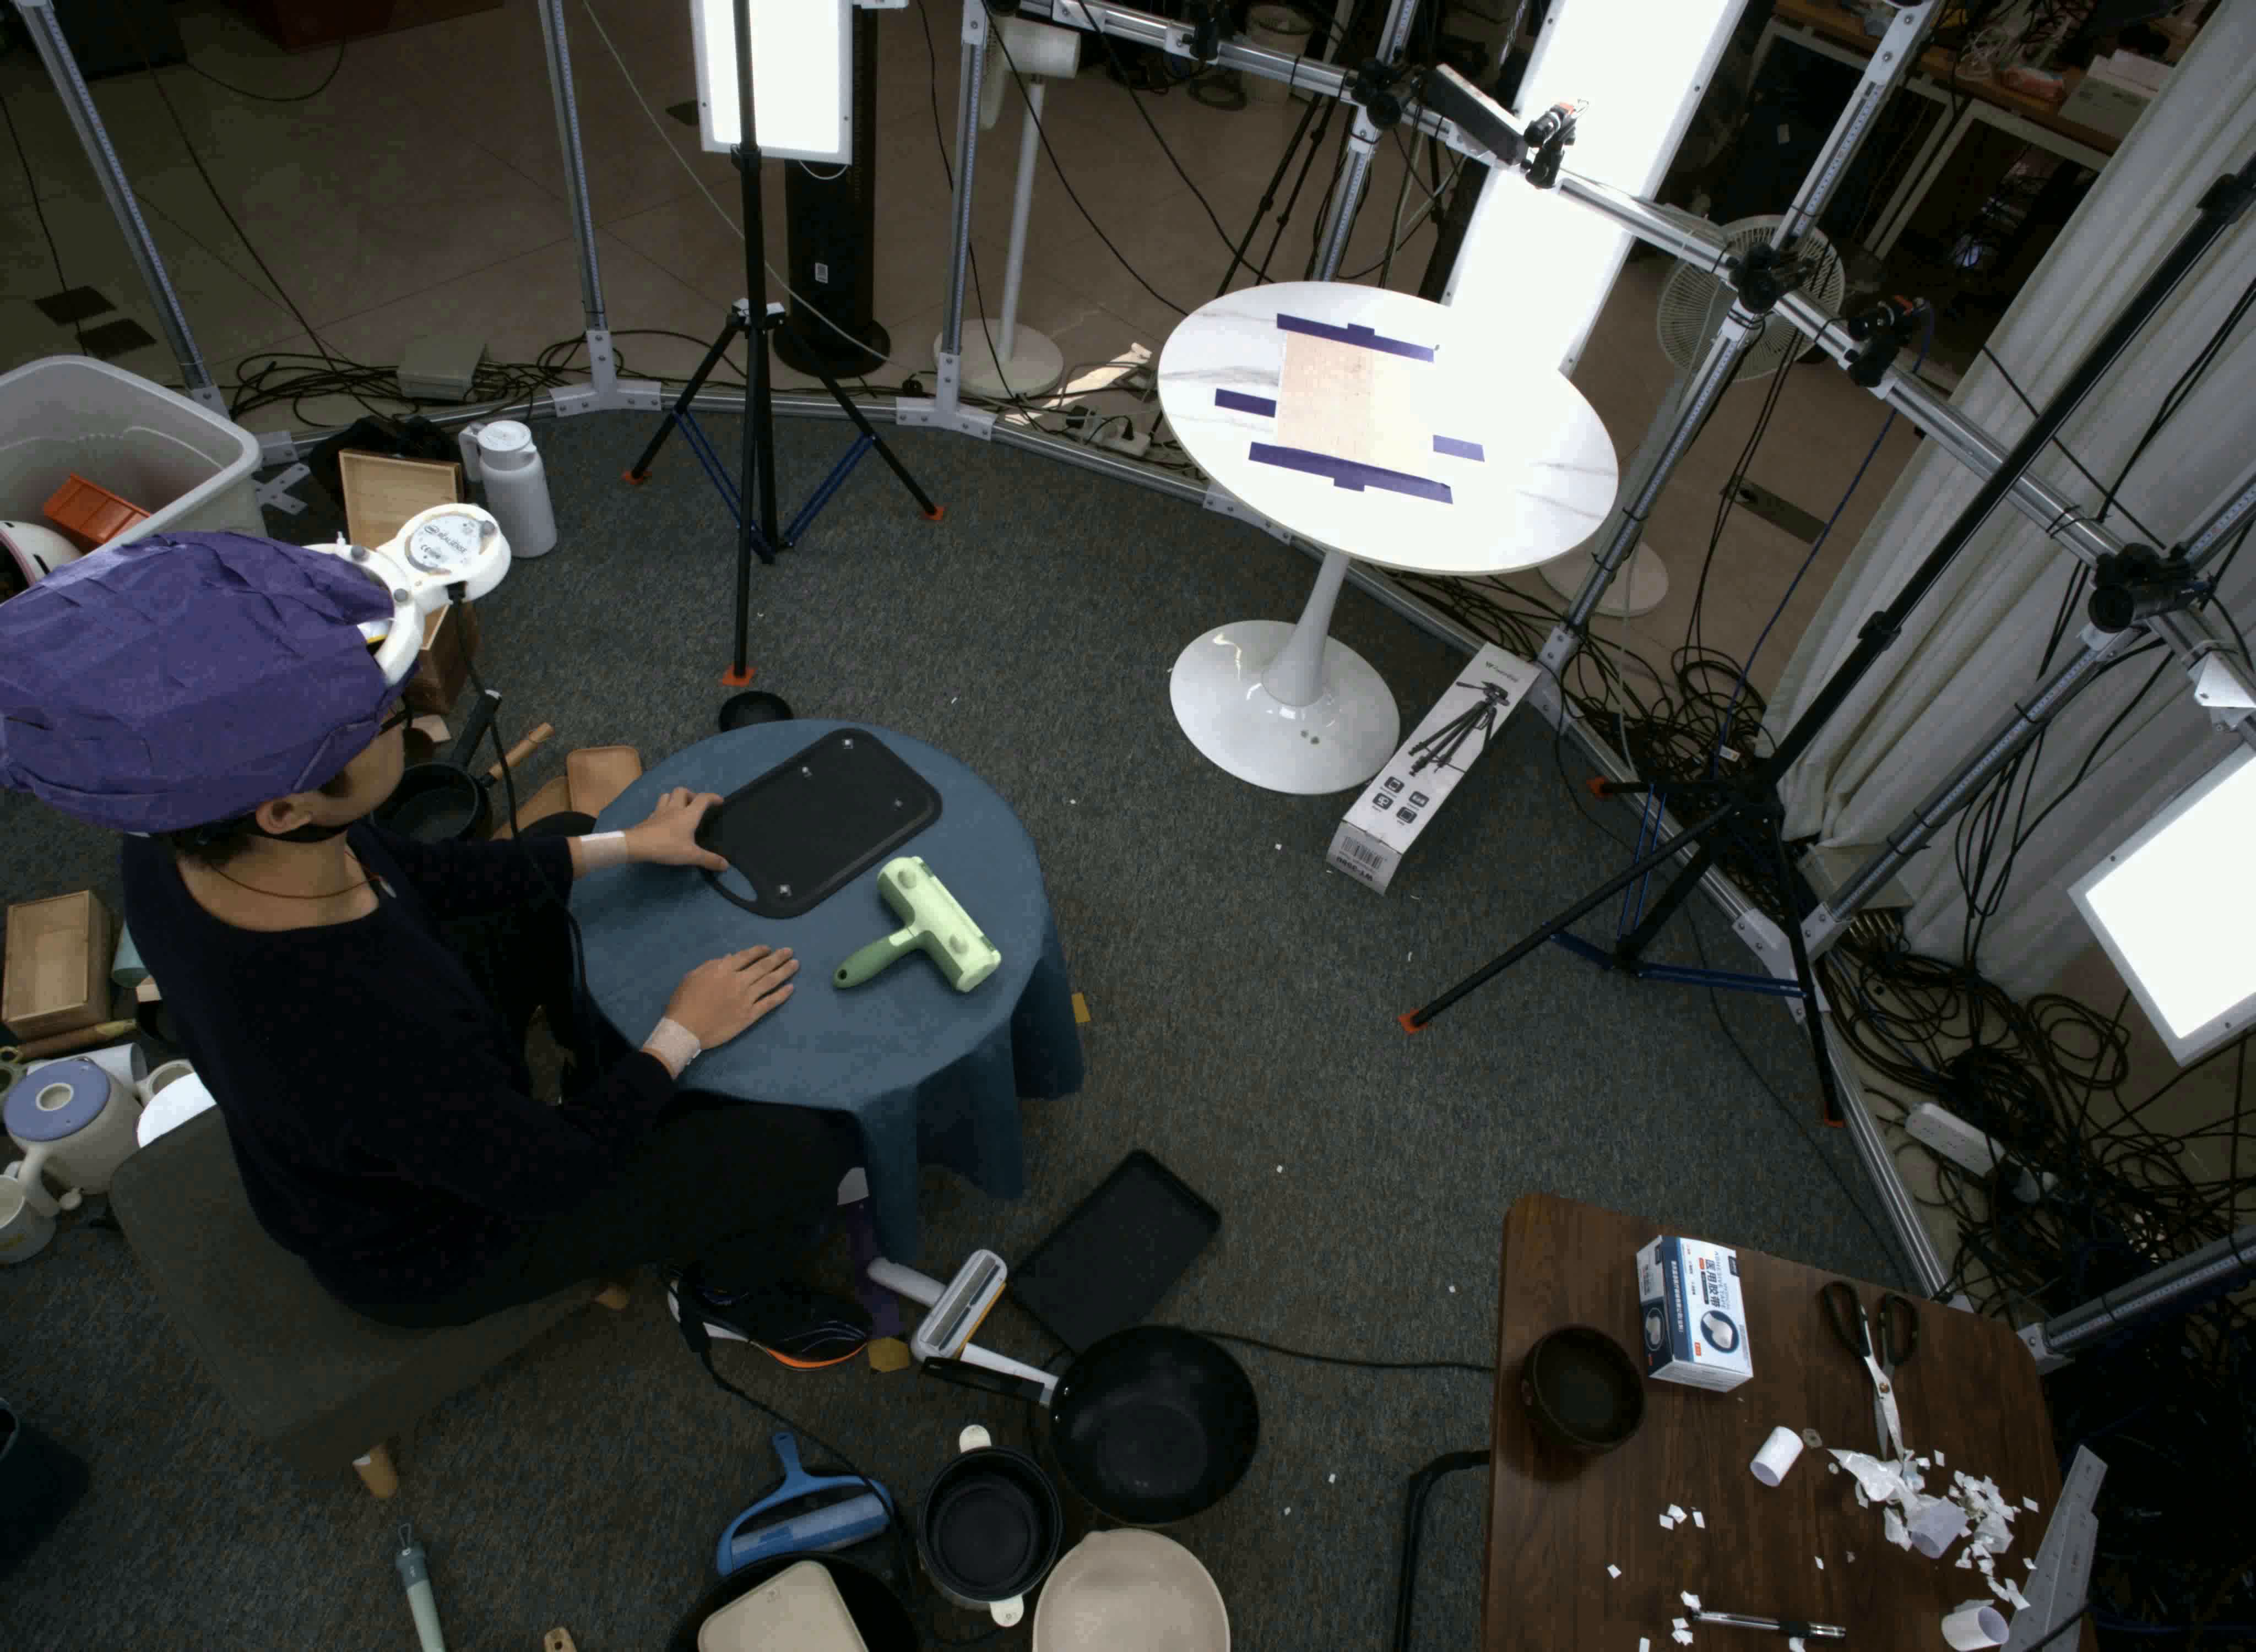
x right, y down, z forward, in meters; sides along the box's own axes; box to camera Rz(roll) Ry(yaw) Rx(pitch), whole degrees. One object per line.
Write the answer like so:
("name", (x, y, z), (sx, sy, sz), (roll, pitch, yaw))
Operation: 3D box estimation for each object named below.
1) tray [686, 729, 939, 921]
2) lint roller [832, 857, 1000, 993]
("tray", (-0.419, -0.006, 1.716), (0.206, 0.010, 0.326), (40, 54, 16))
("lint roller", (-0.282, 0.134, 1.596), (0.184, 0.084, 0.194), (-27, 63, -37))
